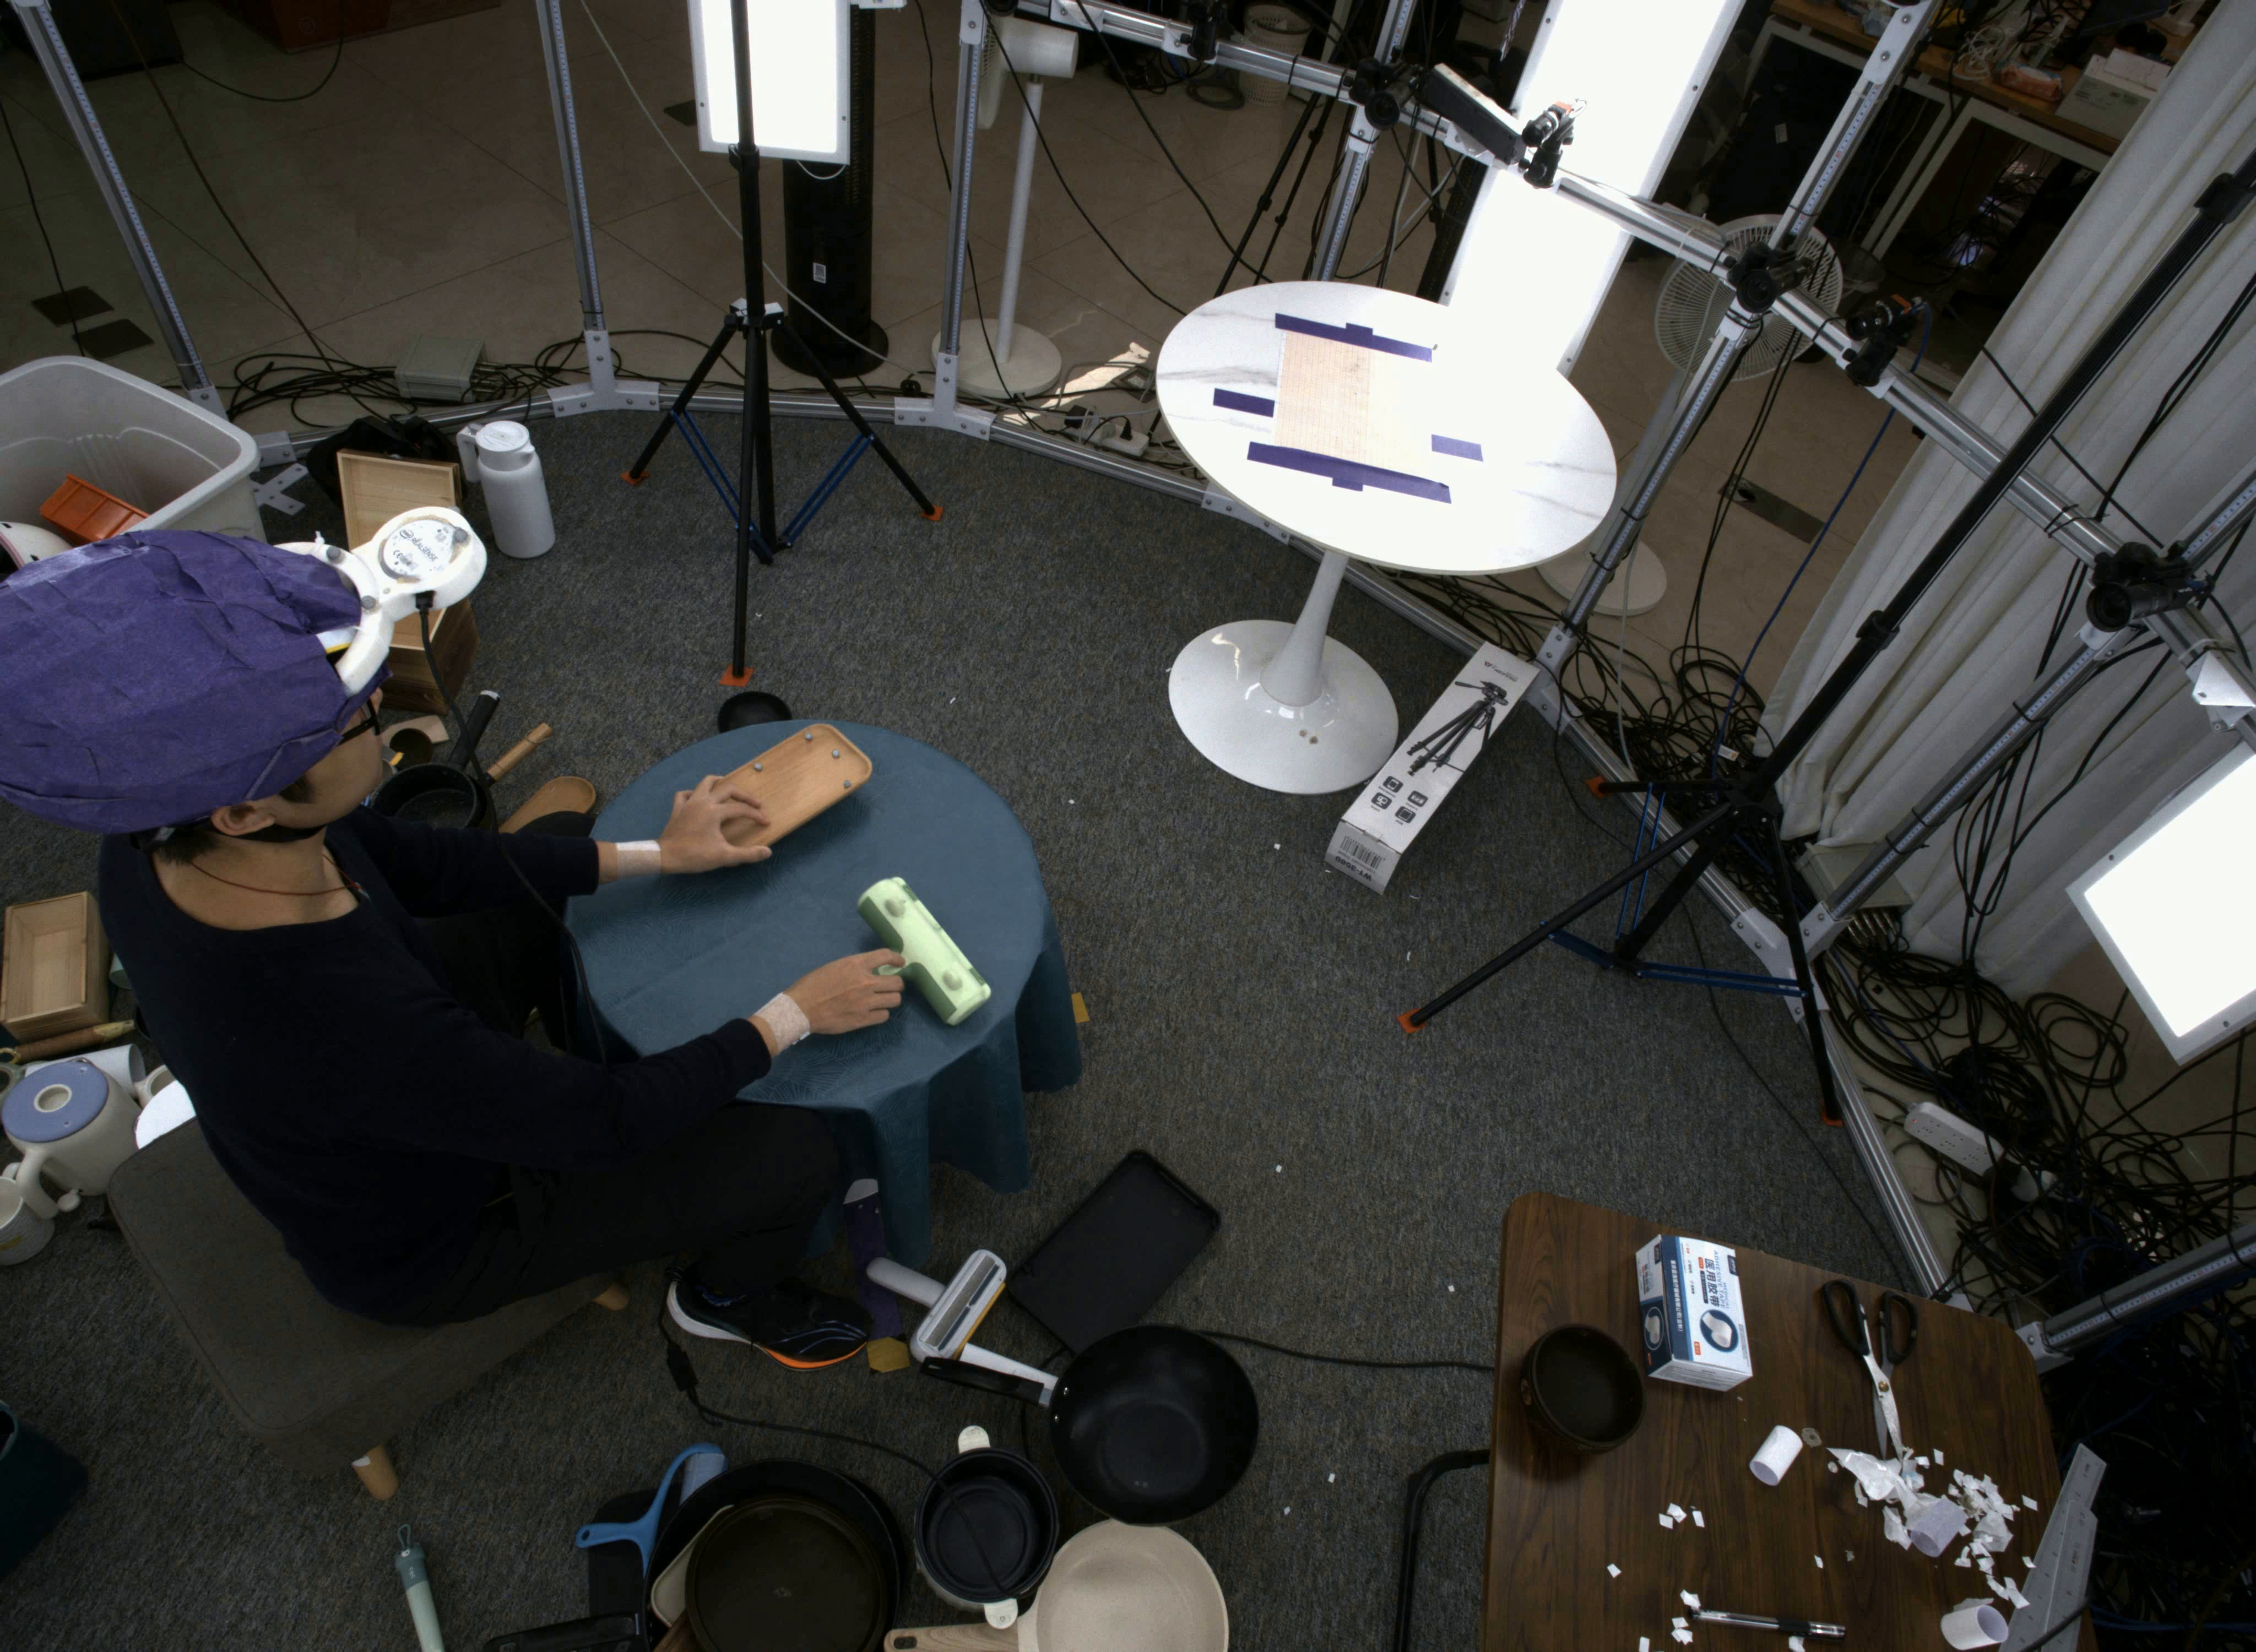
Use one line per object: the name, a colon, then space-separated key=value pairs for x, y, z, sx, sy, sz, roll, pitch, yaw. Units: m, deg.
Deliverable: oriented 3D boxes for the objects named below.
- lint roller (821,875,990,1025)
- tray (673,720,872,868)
lint roller: x=-0.285 y=0.166 z=1.543 sx=0.197 sy=0.082 sz=0.184 roll=49 pitch=46 yaw=7
tray: x=-0.457 y=-0.045 z=1.673 sx=0.127 sy=0.023 sz=0.251 roll=39 pitch=59 yaw=24
